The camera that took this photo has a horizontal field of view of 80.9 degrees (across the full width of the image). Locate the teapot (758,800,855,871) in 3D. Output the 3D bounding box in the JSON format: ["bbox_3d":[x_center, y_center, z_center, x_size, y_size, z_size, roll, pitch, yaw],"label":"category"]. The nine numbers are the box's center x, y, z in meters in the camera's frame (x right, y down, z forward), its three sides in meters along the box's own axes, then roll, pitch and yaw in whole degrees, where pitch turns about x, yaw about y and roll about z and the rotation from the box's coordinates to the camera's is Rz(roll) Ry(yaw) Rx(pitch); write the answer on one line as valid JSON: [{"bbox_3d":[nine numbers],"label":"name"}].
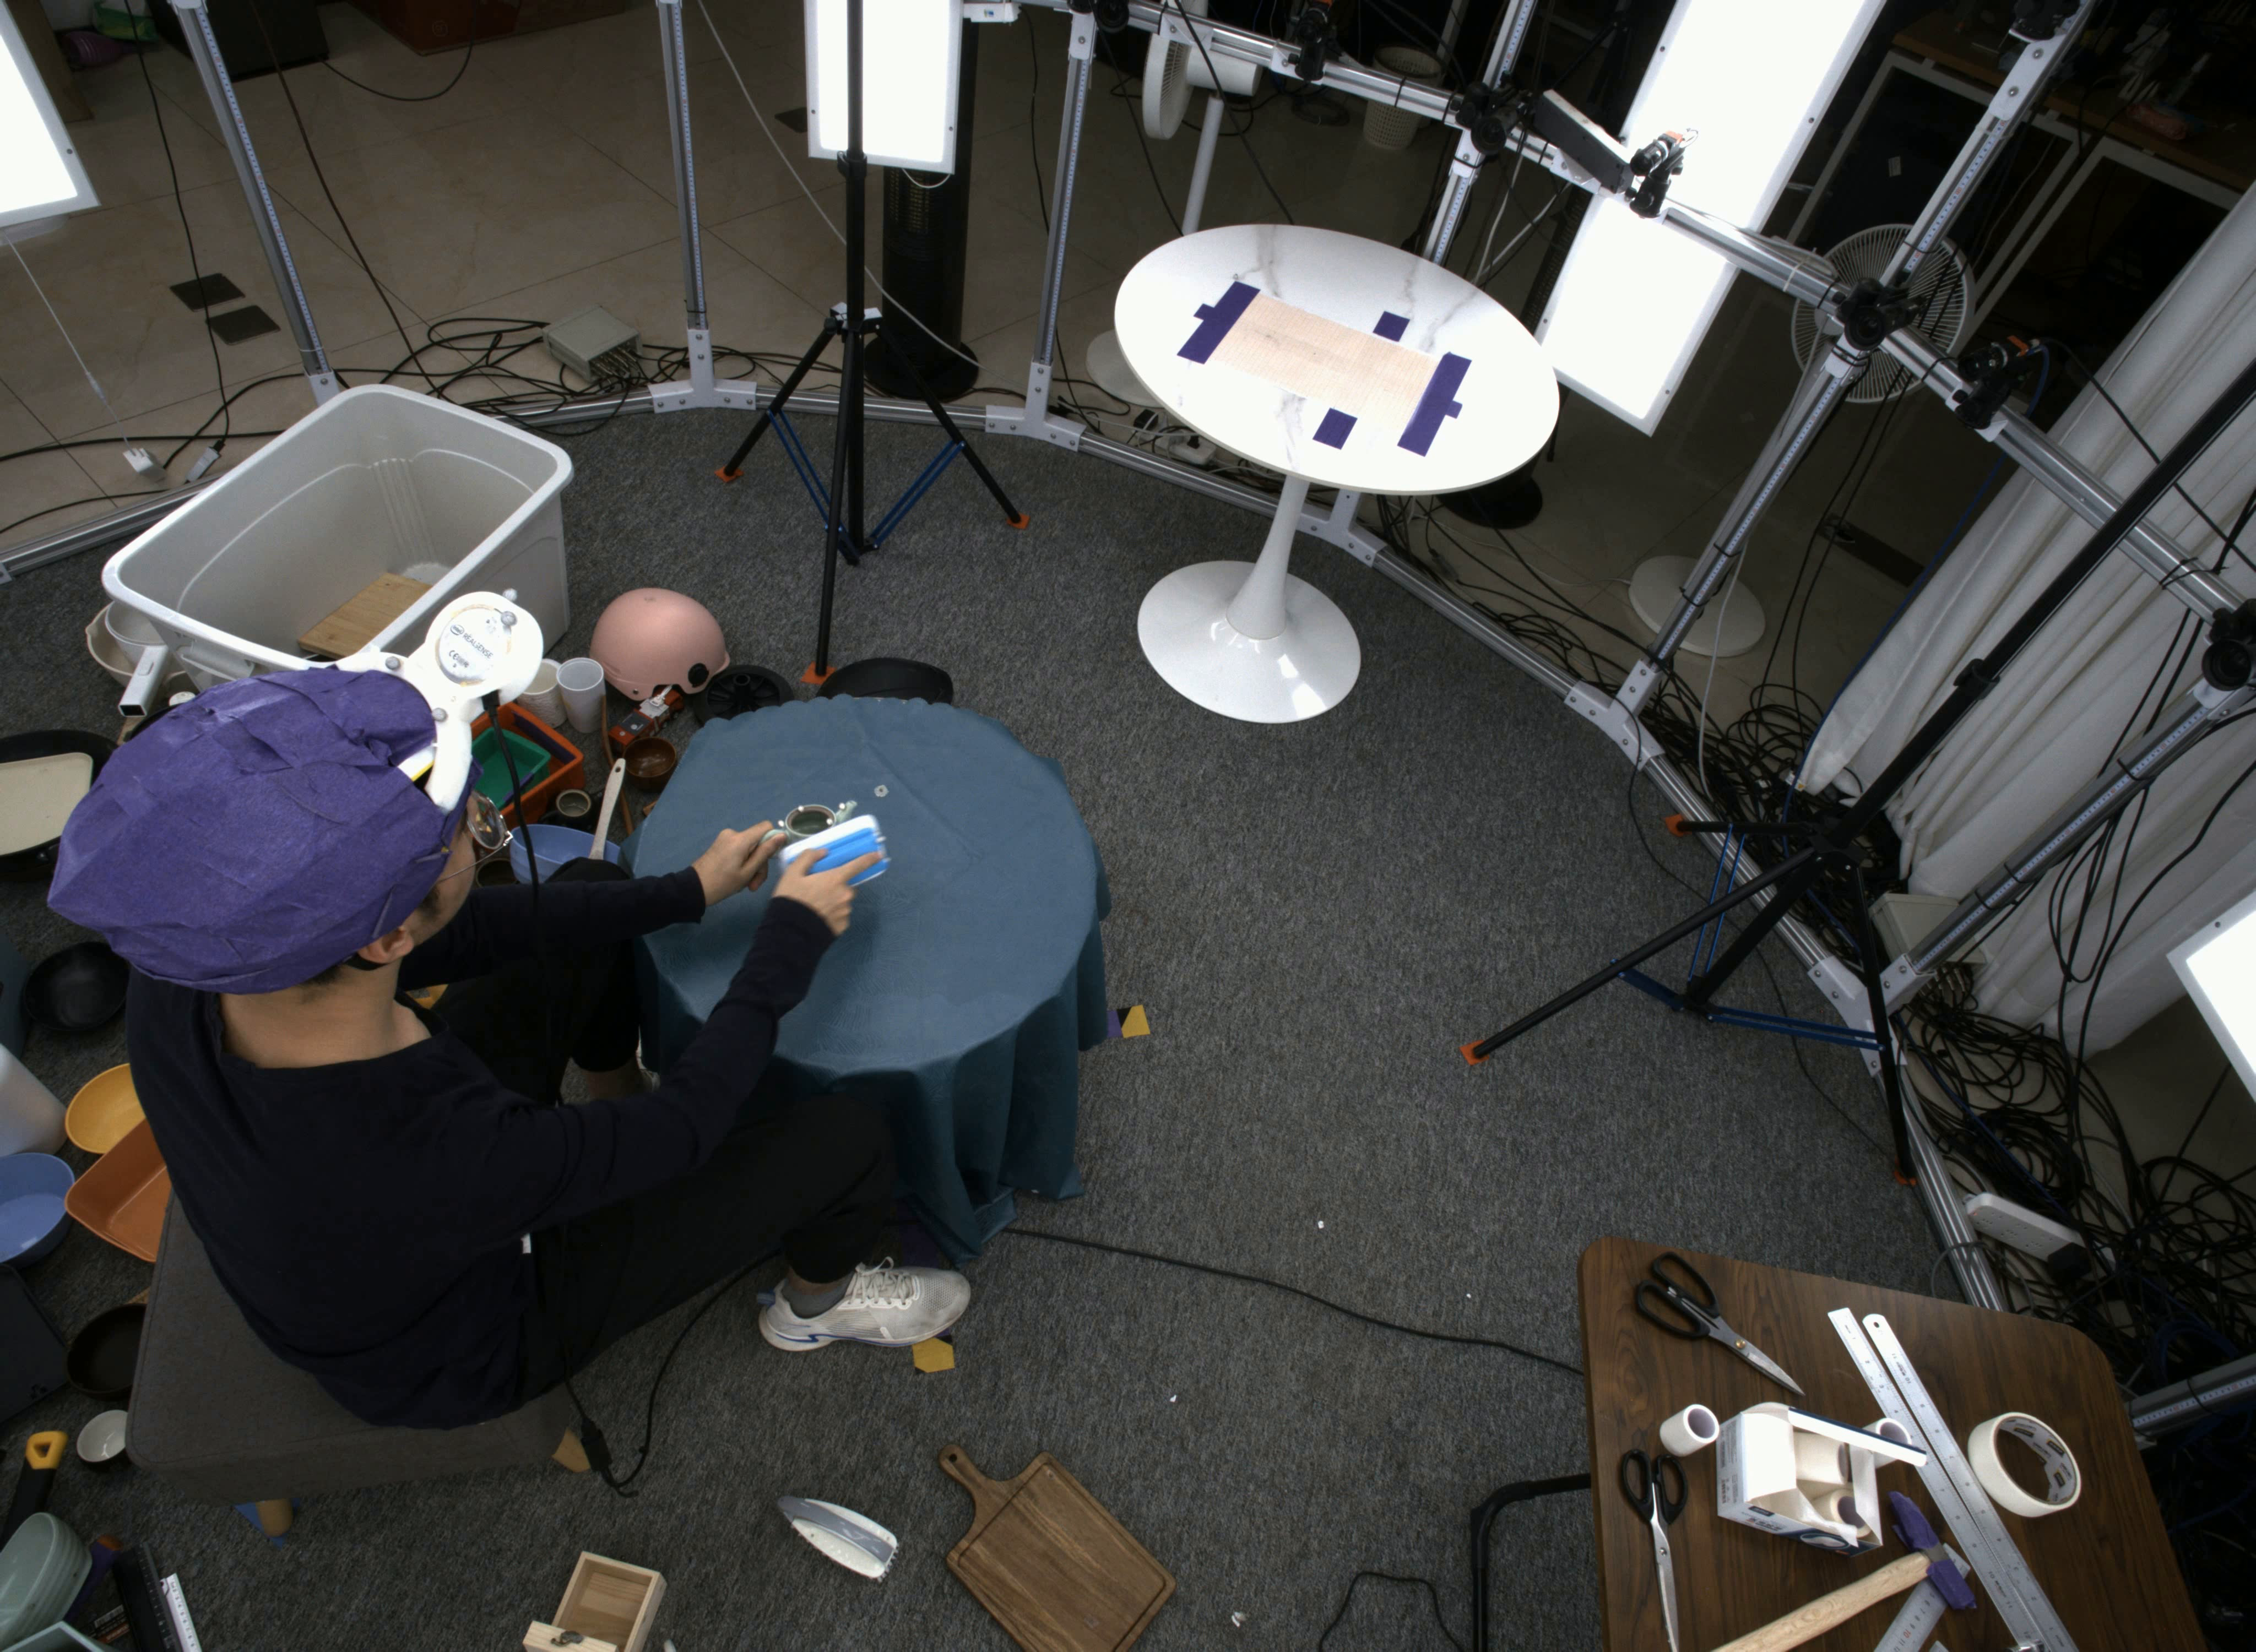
[{"bbox_3d":[-0.395,0.016,1.604,0.138,0.063,0.093,-26,49,-34],"label":"teapot"}]

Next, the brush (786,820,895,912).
[{"bbox_3d":[-0.341,0.045,1.571,0.054,0.086,0.145,1,18,42],"label":"brush"}]
